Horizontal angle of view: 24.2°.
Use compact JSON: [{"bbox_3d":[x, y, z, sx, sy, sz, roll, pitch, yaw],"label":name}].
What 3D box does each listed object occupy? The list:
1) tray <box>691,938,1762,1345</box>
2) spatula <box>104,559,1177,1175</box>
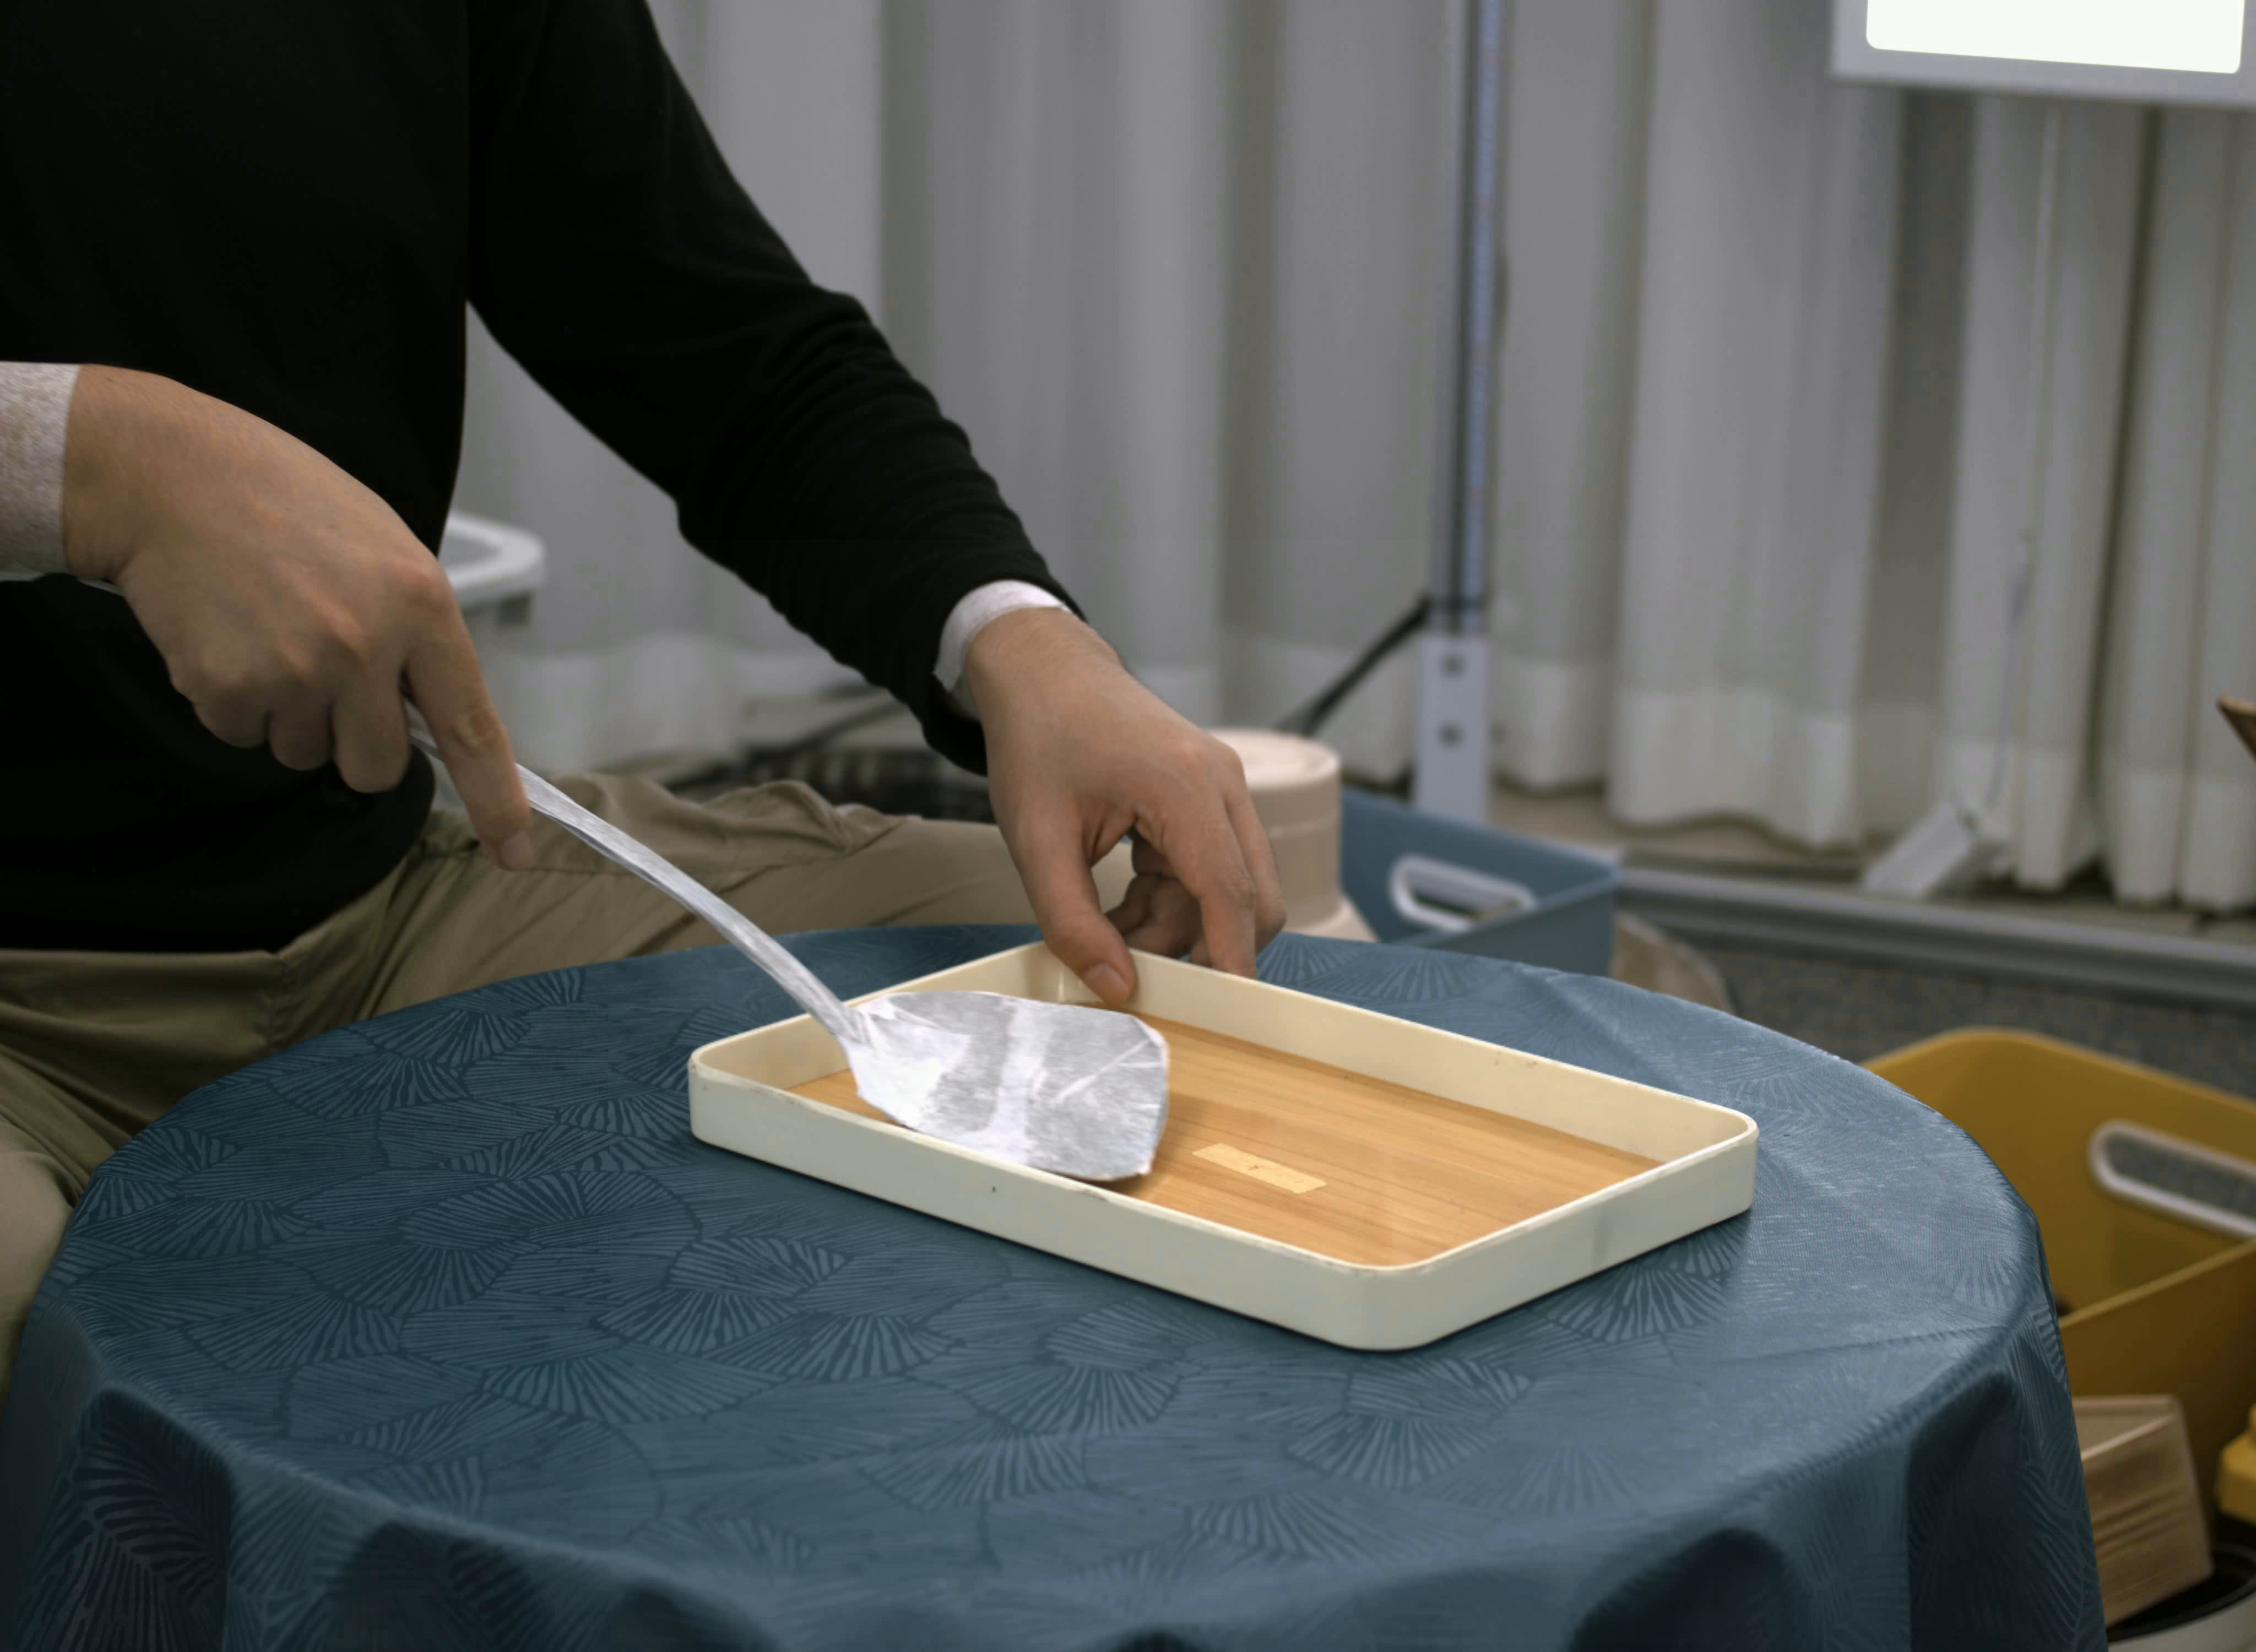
[{"bbox_3d":[0.027,0.093,1.638,0.296,0.027,0.192,14,21,40],"label":"tray"},{"bbox_3d":[-0.148,0.006,1.605,0.366,0.045,0.098,33,28,-12],"label":"spatula"}]
